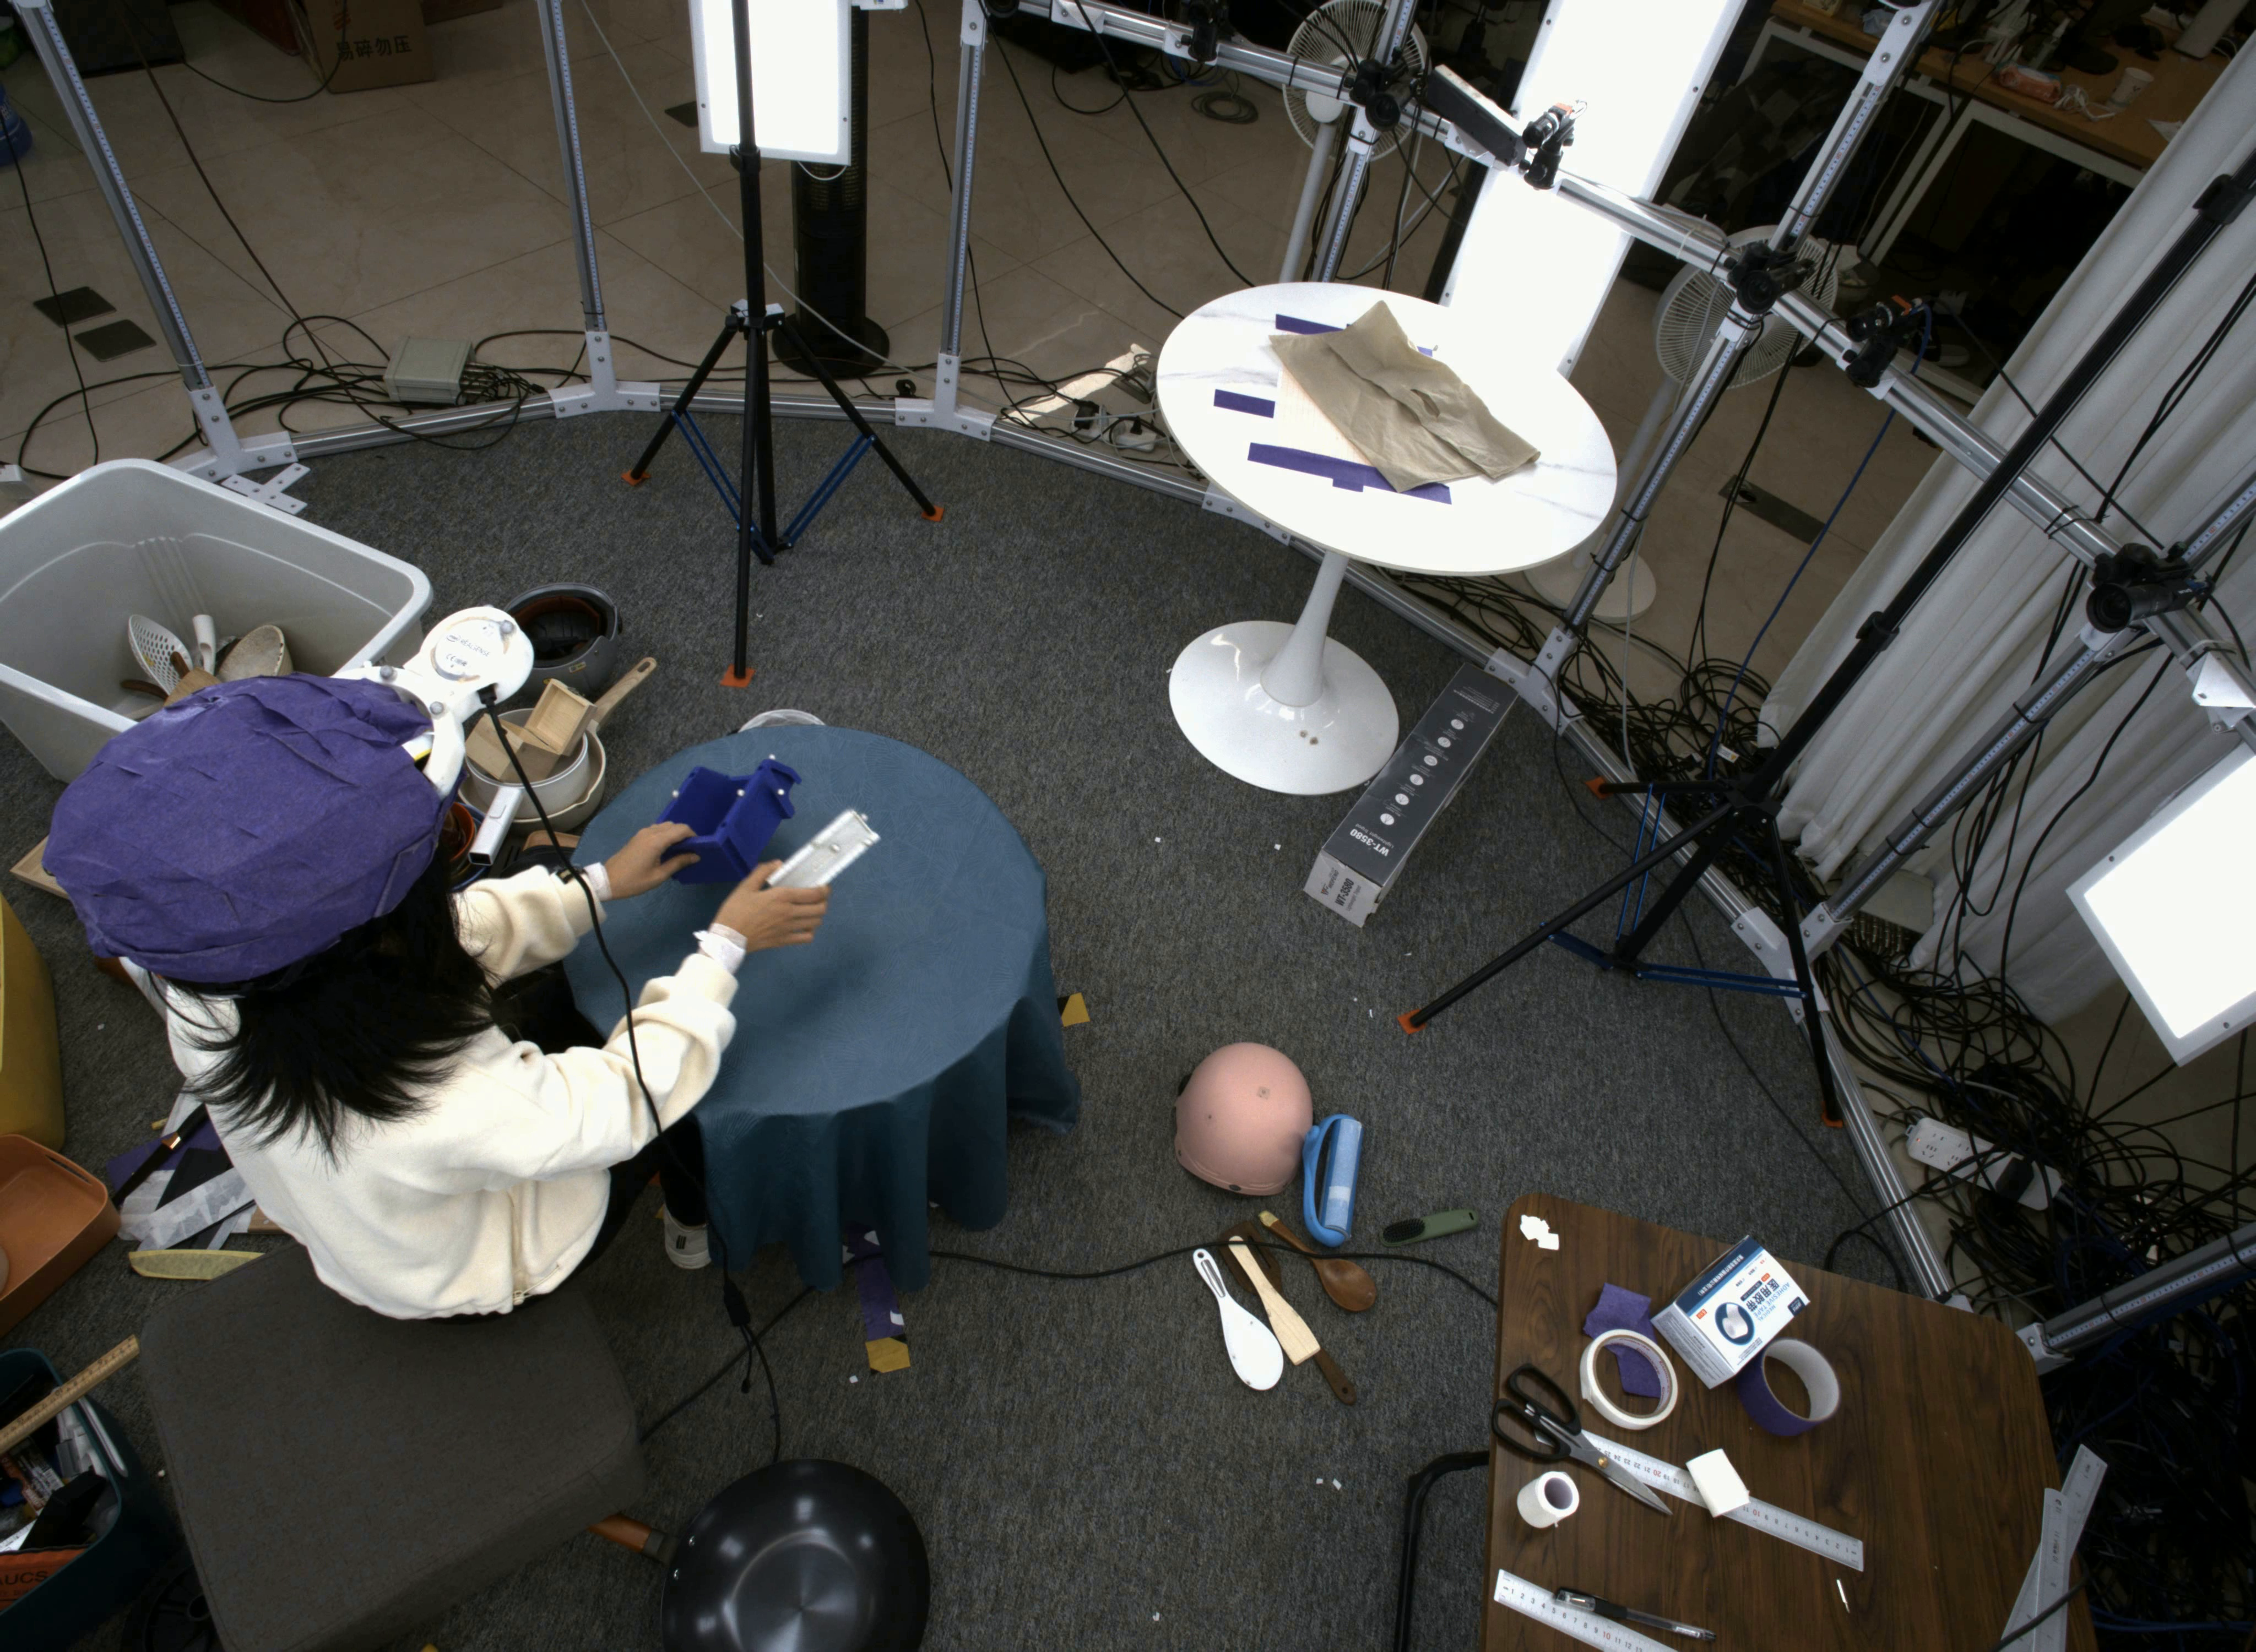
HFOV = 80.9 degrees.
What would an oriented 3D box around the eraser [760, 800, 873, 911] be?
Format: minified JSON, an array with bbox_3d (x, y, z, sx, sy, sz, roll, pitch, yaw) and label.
[{"bbox_3d":[-0.364,0.033,1.514,0.134,0.045,0.051,-47,107,-19],"label":"eraser"}]

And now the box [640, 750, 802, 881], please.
[{"bbox_3d":[-0.499,-0.019,1.596,0.121,0.085,0.177,-5,43,23],"label":"box"}]
